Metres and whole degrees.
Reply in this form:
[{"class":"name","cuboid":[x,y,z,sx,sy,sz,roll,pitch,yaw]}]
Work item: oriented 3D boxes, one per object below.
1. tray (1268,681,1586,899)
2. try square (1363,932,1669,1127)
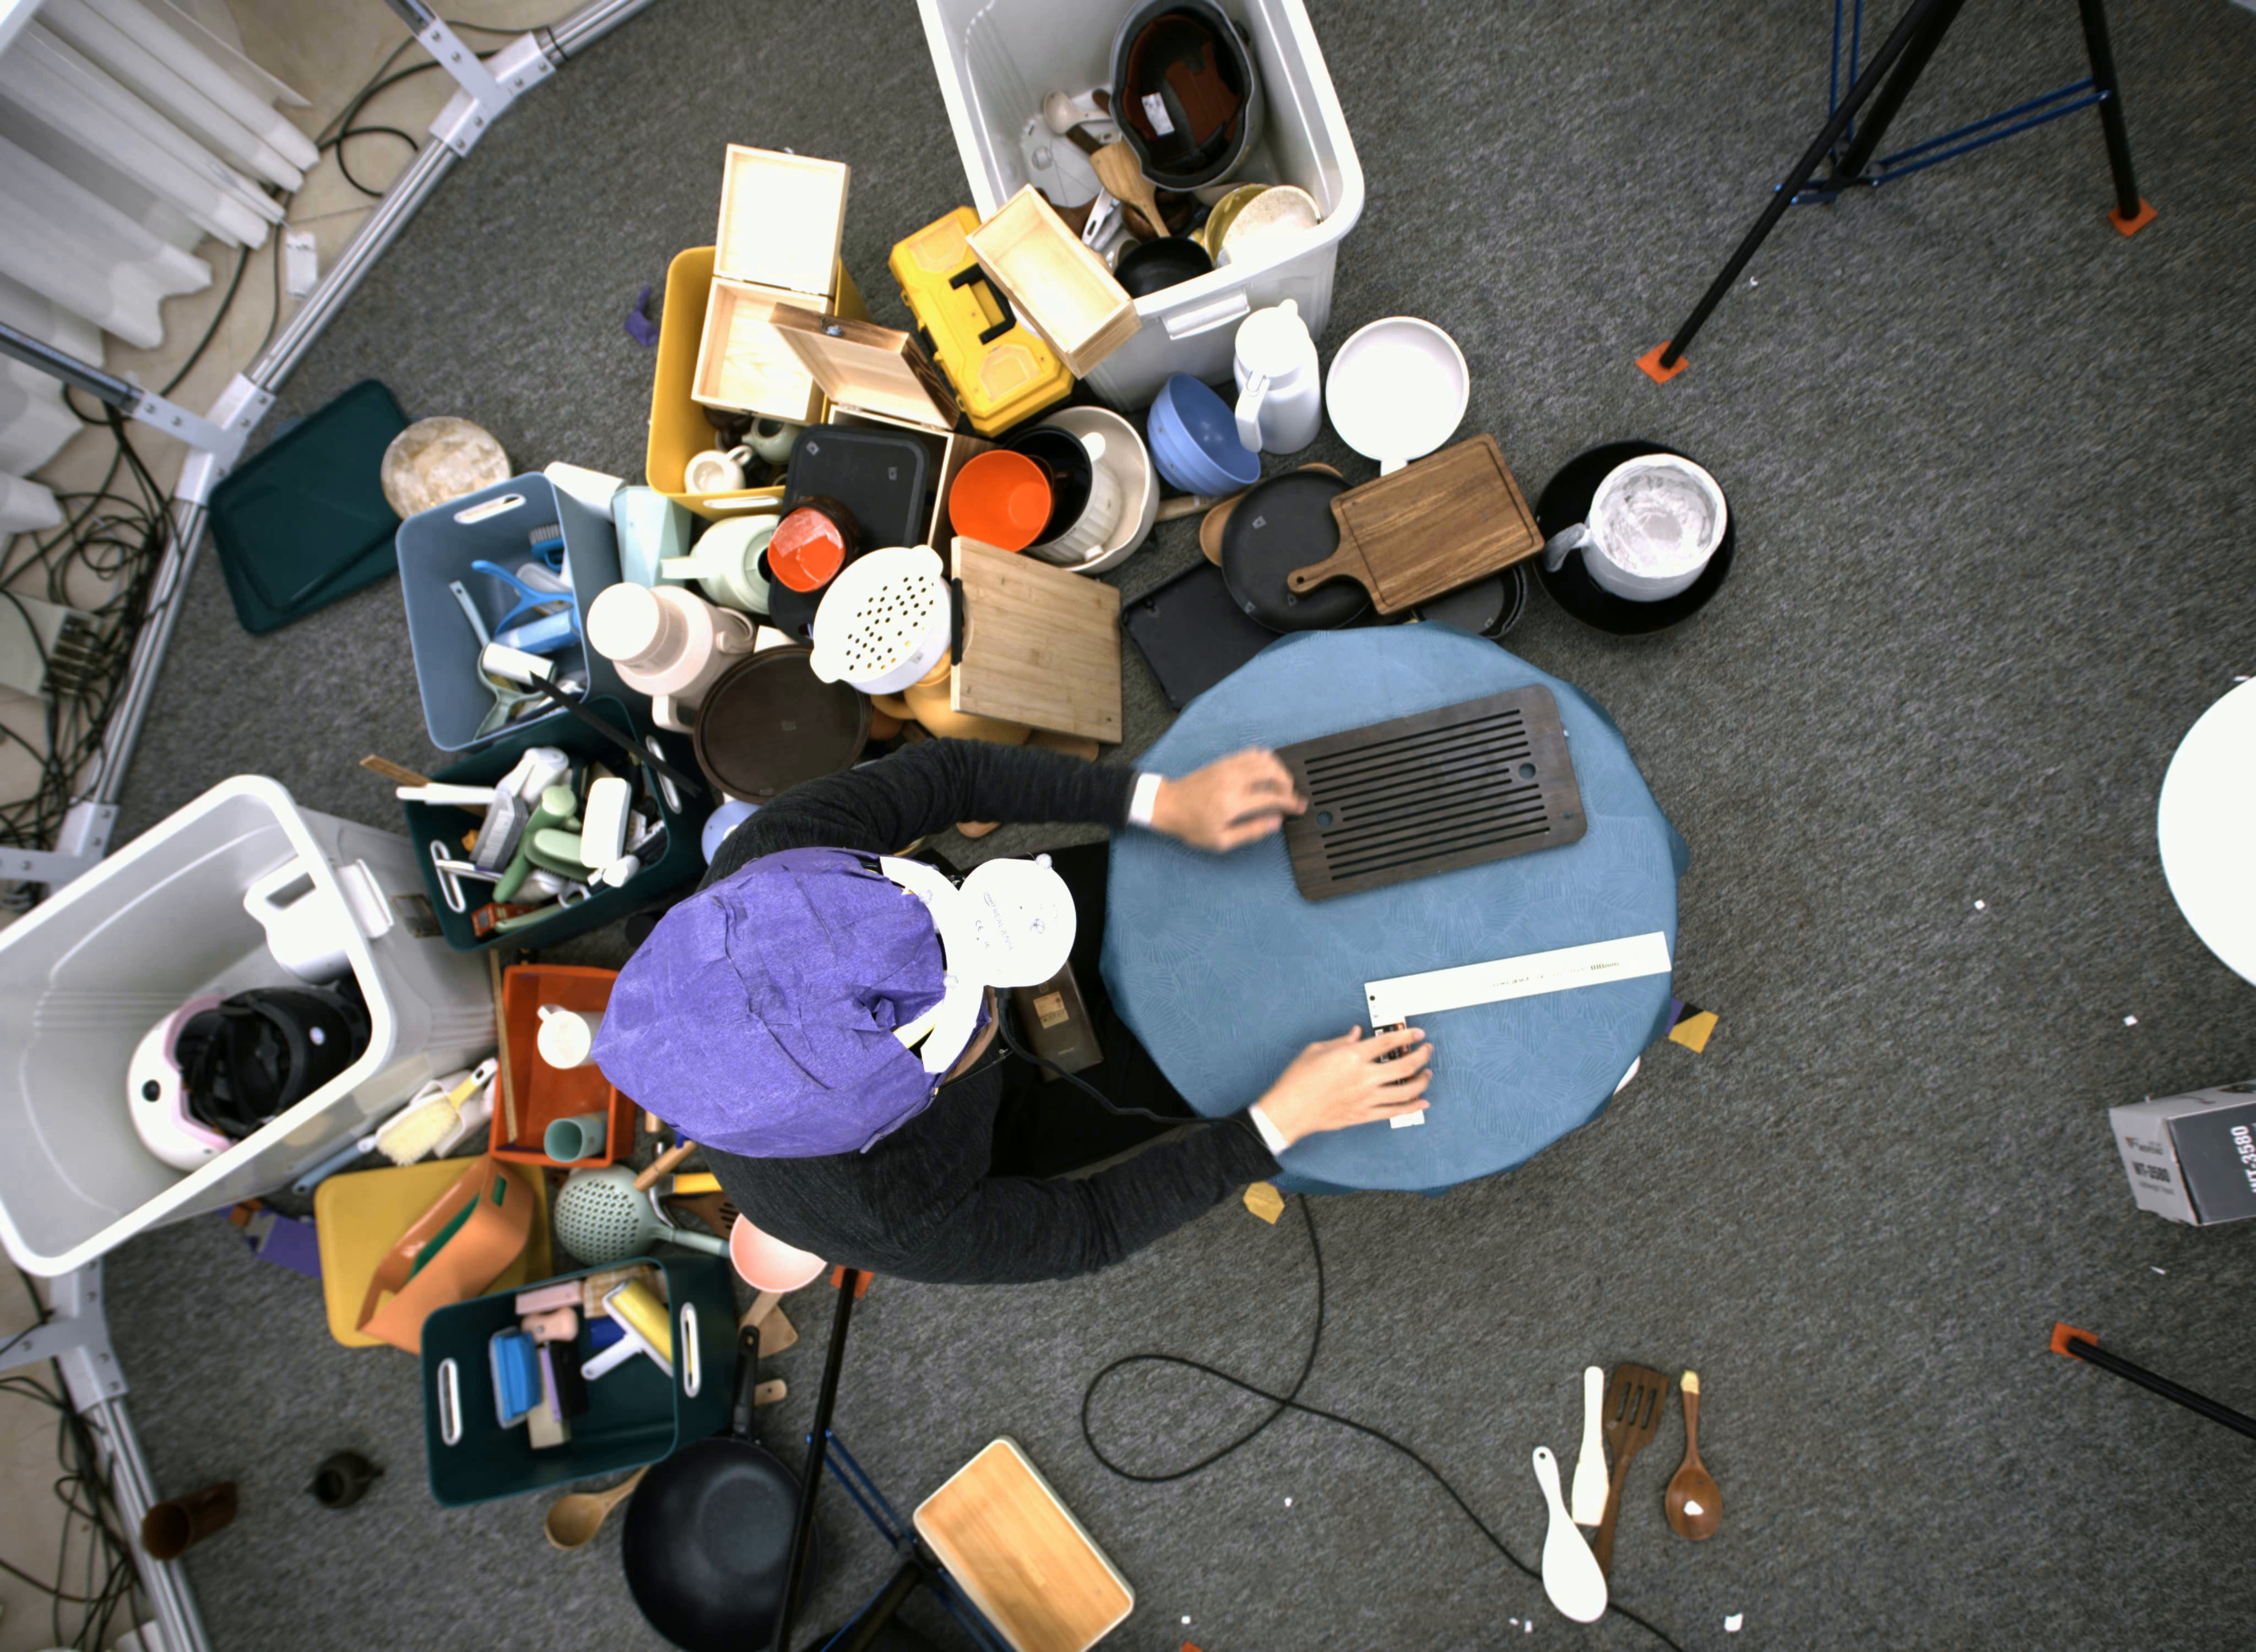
[{"class":"tray","cuboid":[0.312,-0.038,1.449,0.307,0.018,0.169,-13,85,10]},{"class":"try square","cuboid":[0.408,0.208,1.423,0.314,0.016,0.151,-11,85,9]}]
